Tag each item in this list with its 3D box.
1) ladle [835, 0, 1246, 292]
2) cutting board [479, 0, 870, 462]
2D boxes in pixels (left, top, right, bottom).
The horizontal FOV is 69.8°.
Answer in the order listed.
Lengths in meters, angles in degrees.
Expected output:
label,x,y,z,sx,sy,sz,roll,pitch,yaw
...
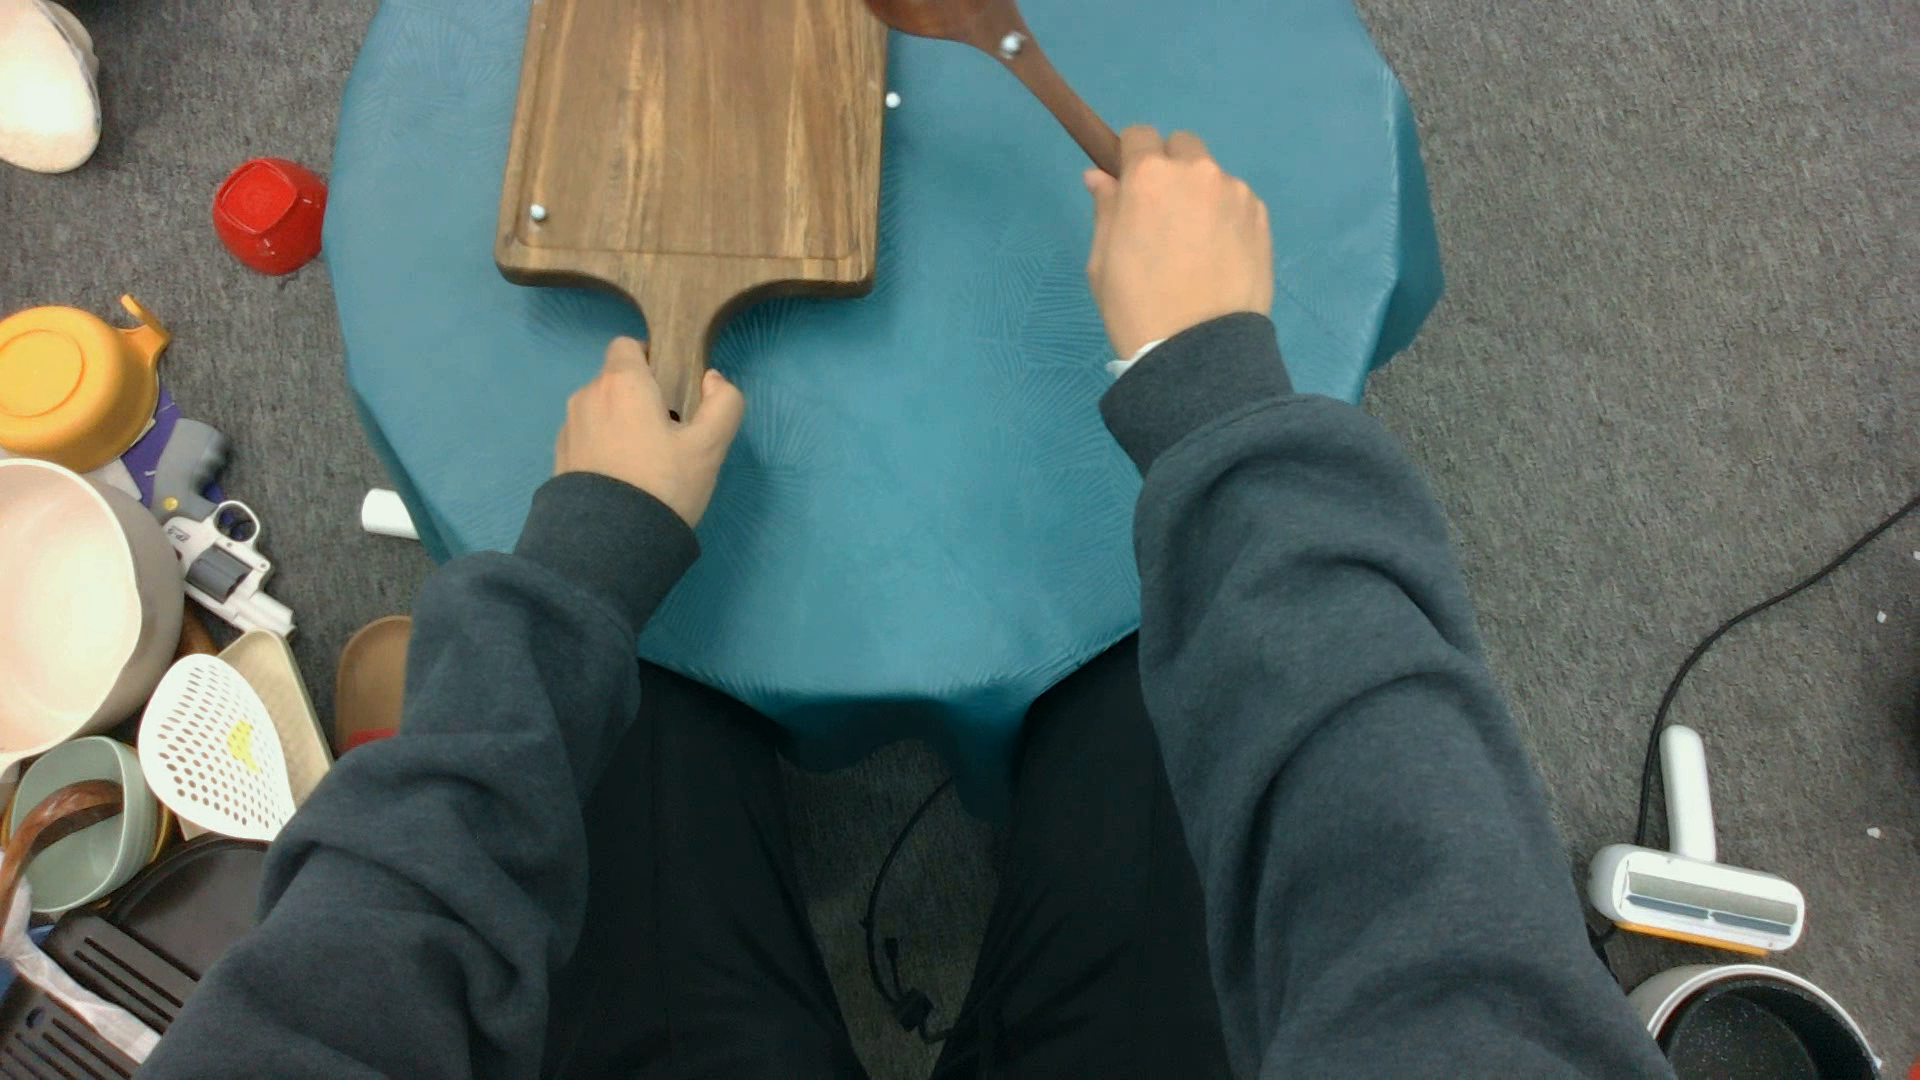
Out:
label,x,y,z,sx,sy,sz,roll,pitch,yaw
ladle,0.039,-0.211,0.656,0.260,0.065,0.076,46,115,-1
cutting board,-0.150,-0.207,0.739,0.201,0.023,0.353,0,70,-1
